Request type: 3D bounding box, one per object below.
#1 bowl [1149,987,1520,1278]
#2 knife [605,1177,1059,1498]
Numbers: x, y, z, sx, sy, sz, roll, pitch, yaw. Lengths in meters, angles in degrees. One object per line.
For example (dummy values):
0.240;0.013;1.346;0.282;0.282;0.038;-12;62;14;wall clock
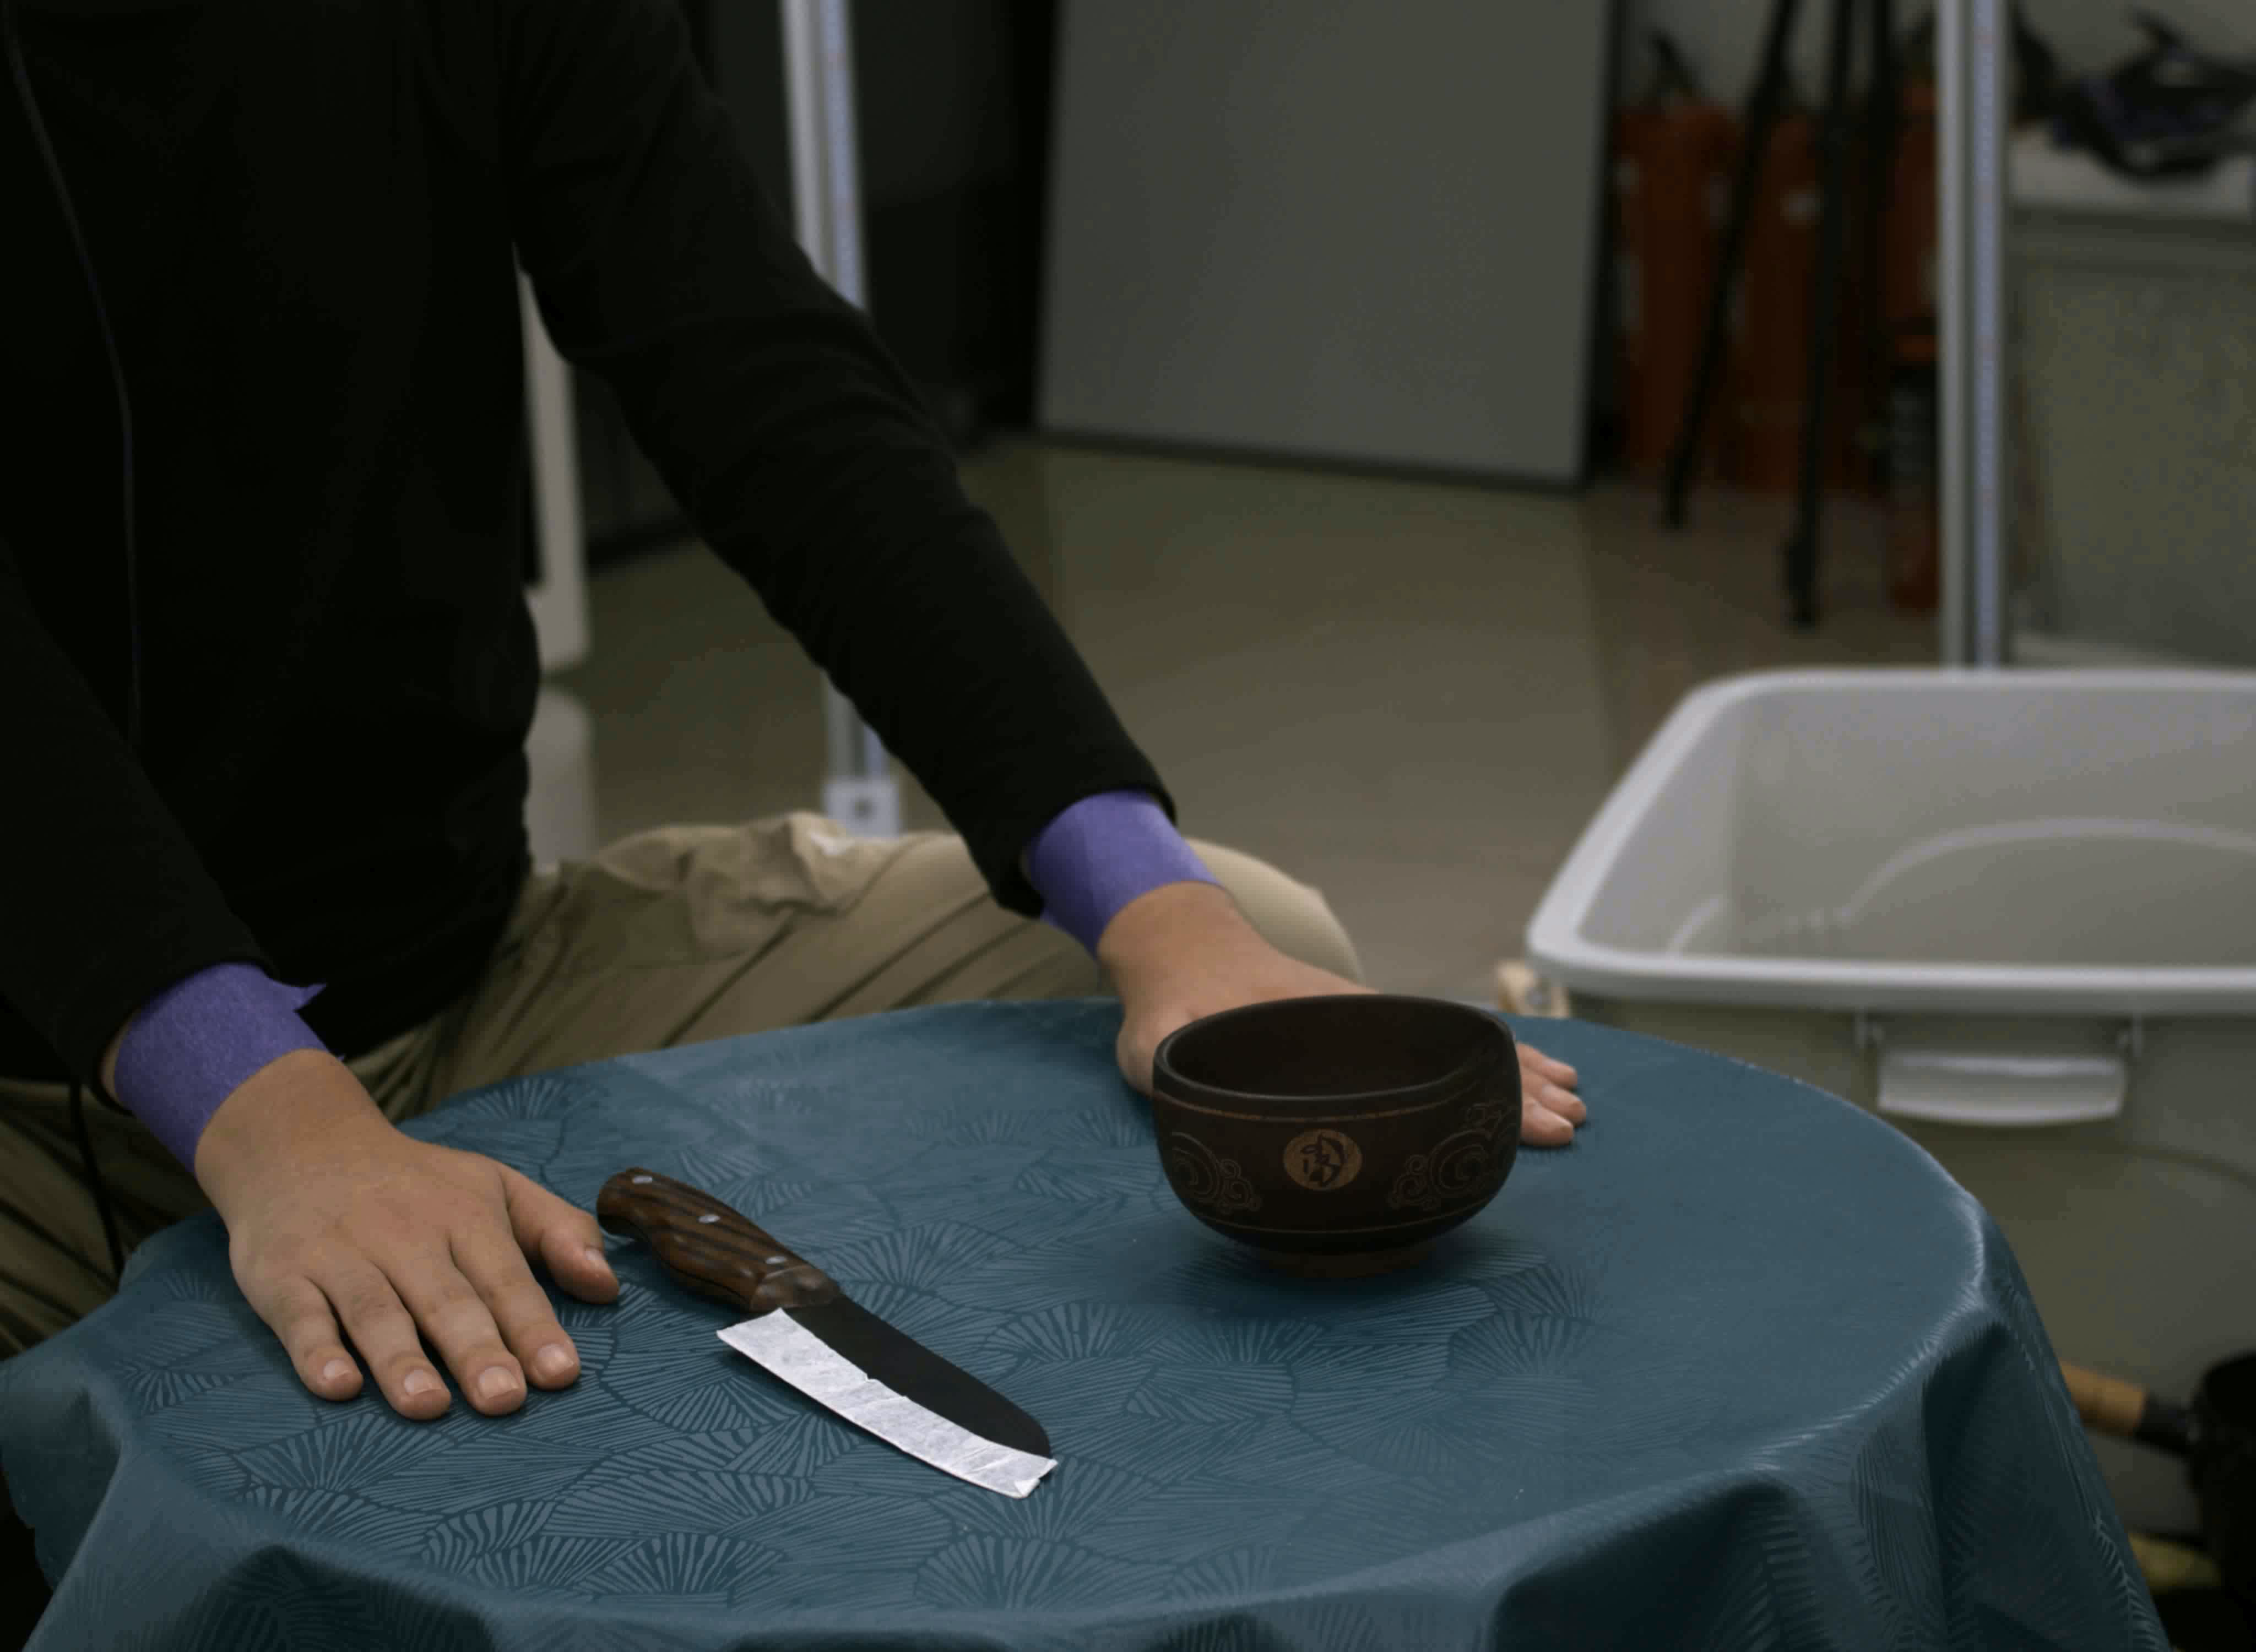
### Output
0.066;0.100;1.693;0.116;0.070;0.118;-5;13;0;bowl
-0.093;0.155;1.636;0.049;0.020;0.292;-16;20;-24;knife
